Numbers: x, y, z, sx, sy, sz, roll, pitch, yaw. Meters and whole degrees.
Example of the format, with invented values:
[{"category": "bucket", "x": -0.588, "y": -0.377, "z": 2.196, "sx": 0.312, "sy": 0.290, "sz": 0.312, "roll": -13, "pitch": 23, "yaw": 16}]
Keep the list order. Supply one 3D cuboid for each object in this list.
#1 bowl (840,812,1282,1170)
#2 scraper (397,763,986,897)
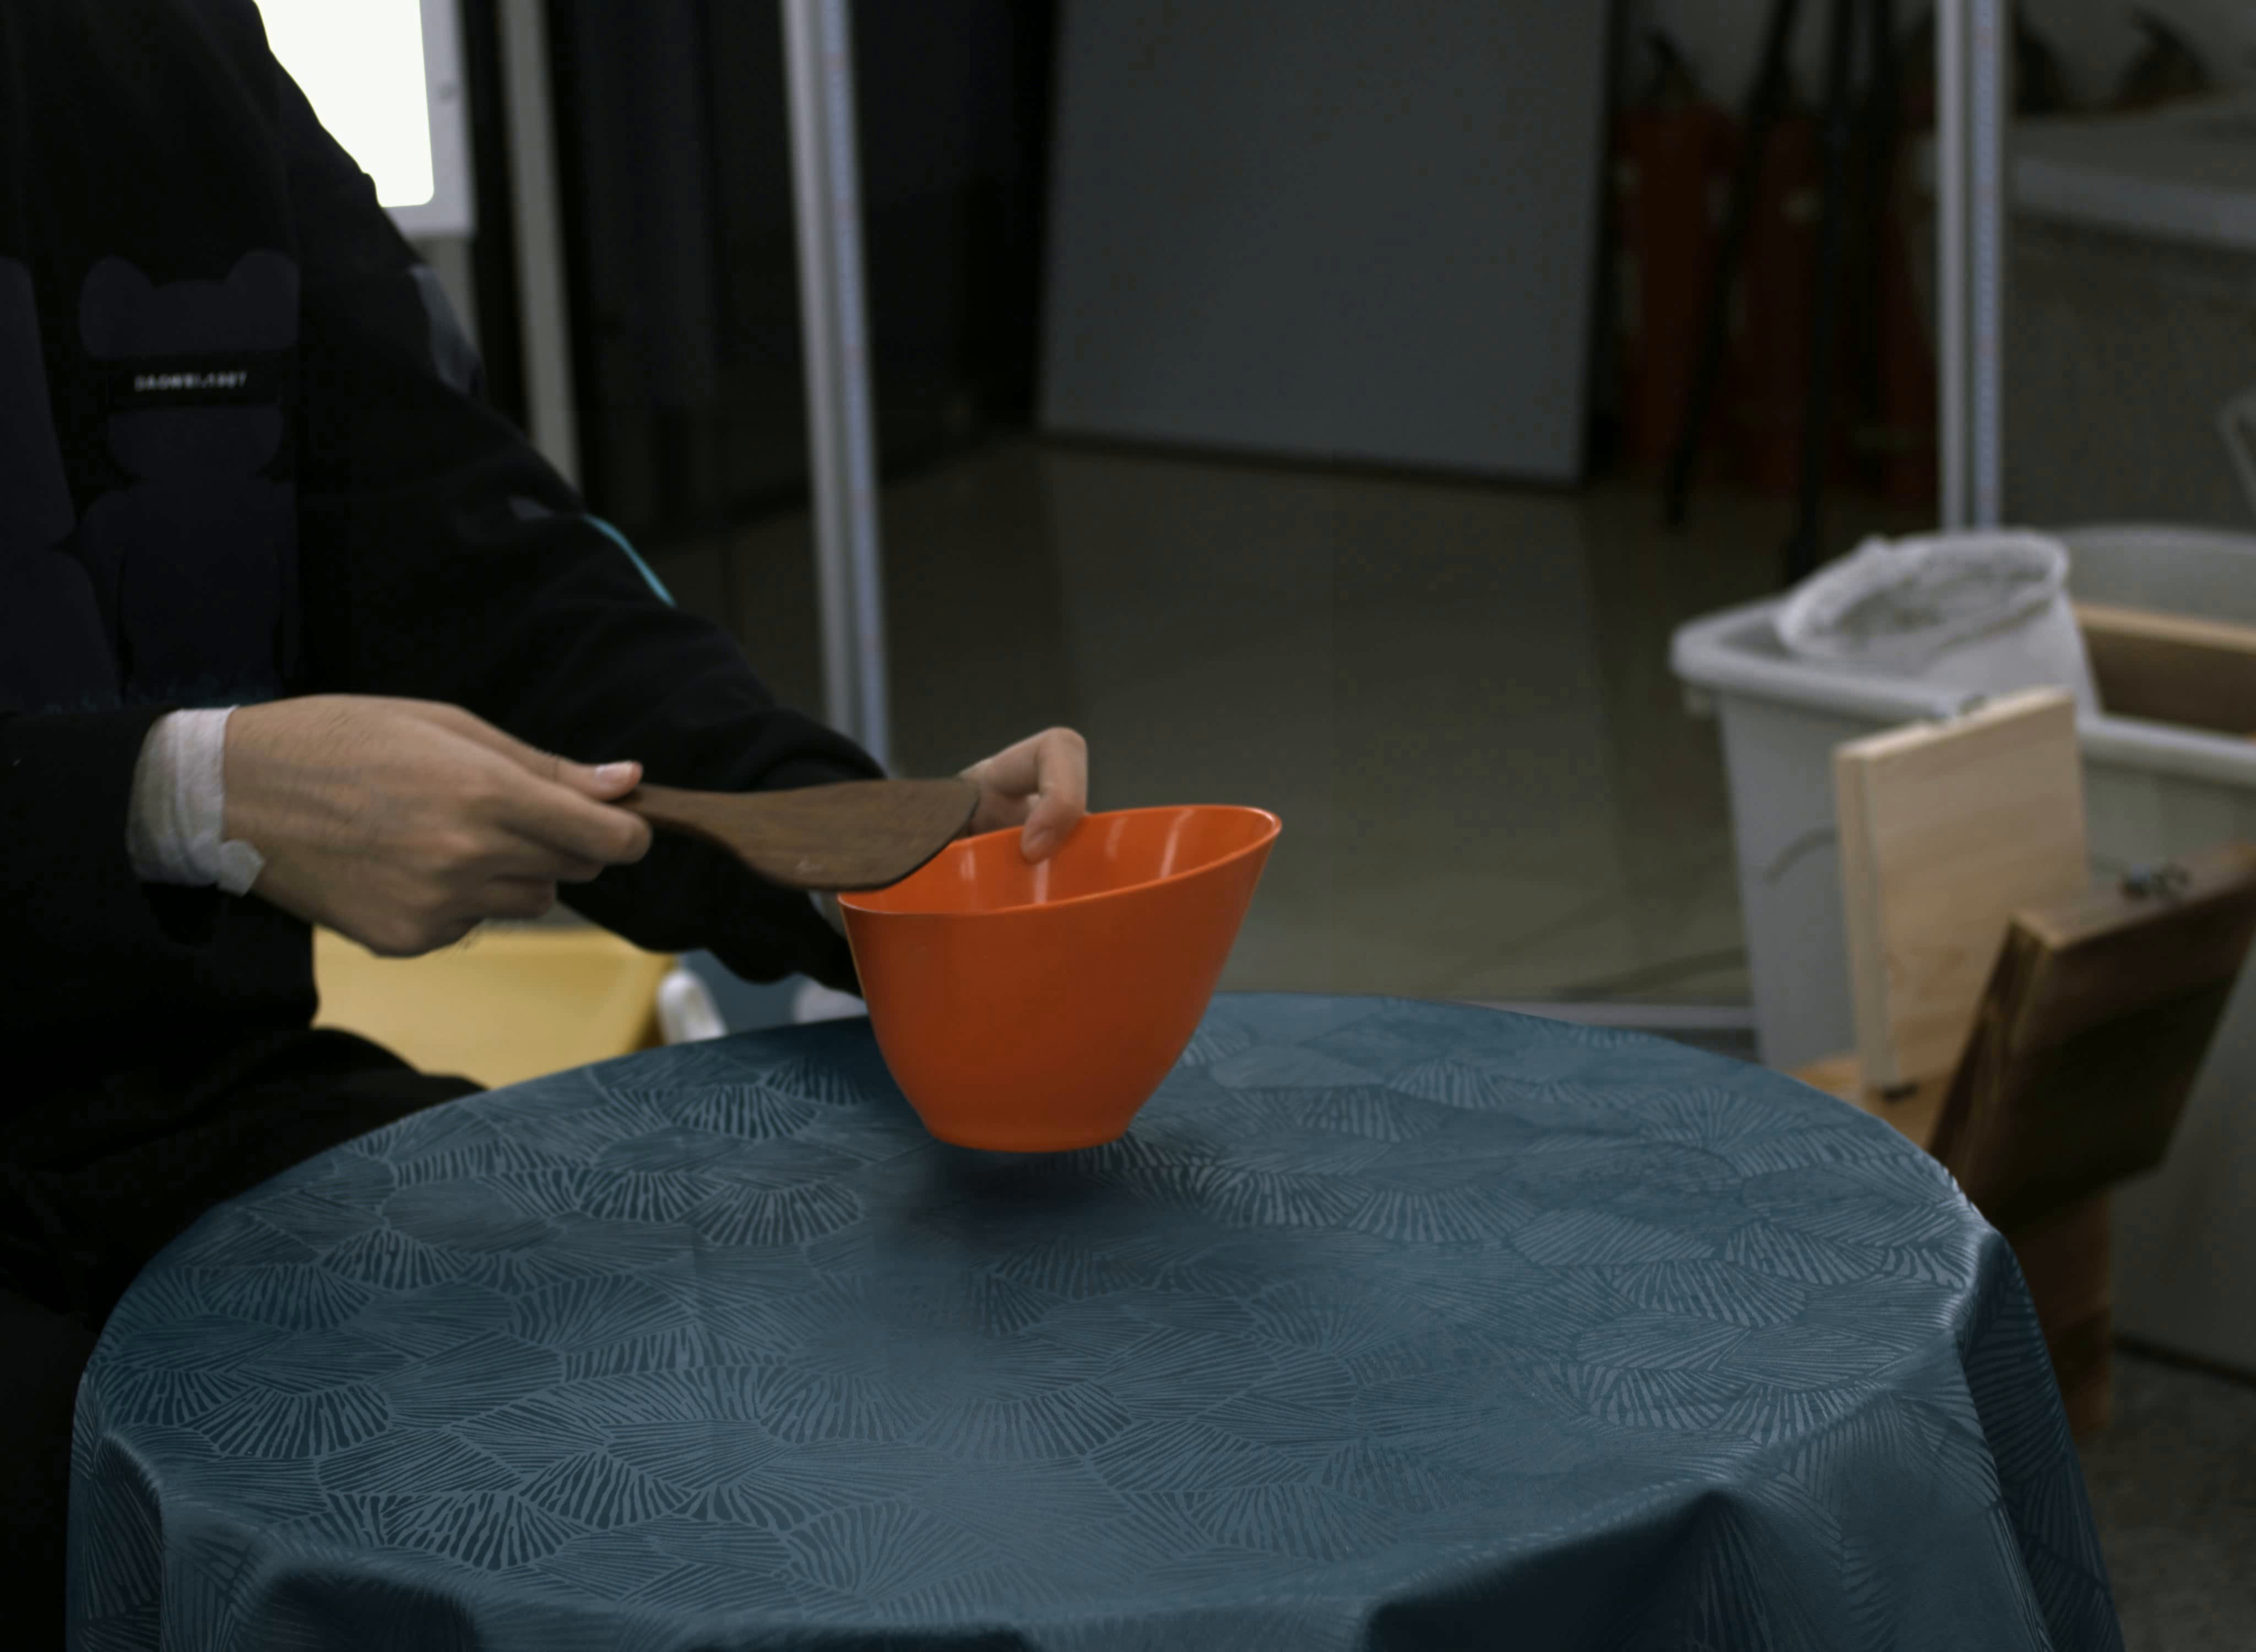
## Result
[{"category": "bowl", "x": -0.021, "y": 0.054, "z": 1.773, "sx": 0.146, "sy": 0.106, "sz": 0.148, "roll": -2, "pitch": 9, "yaw": -1}, {"category": "scraper", "x": -0.146, "y": -0.004, "z": 1.746, "sx": 0.212, "sy": 0.011, "sz": 0.075, "roll": 7, "pitch": 30, "yaw": 29}]
